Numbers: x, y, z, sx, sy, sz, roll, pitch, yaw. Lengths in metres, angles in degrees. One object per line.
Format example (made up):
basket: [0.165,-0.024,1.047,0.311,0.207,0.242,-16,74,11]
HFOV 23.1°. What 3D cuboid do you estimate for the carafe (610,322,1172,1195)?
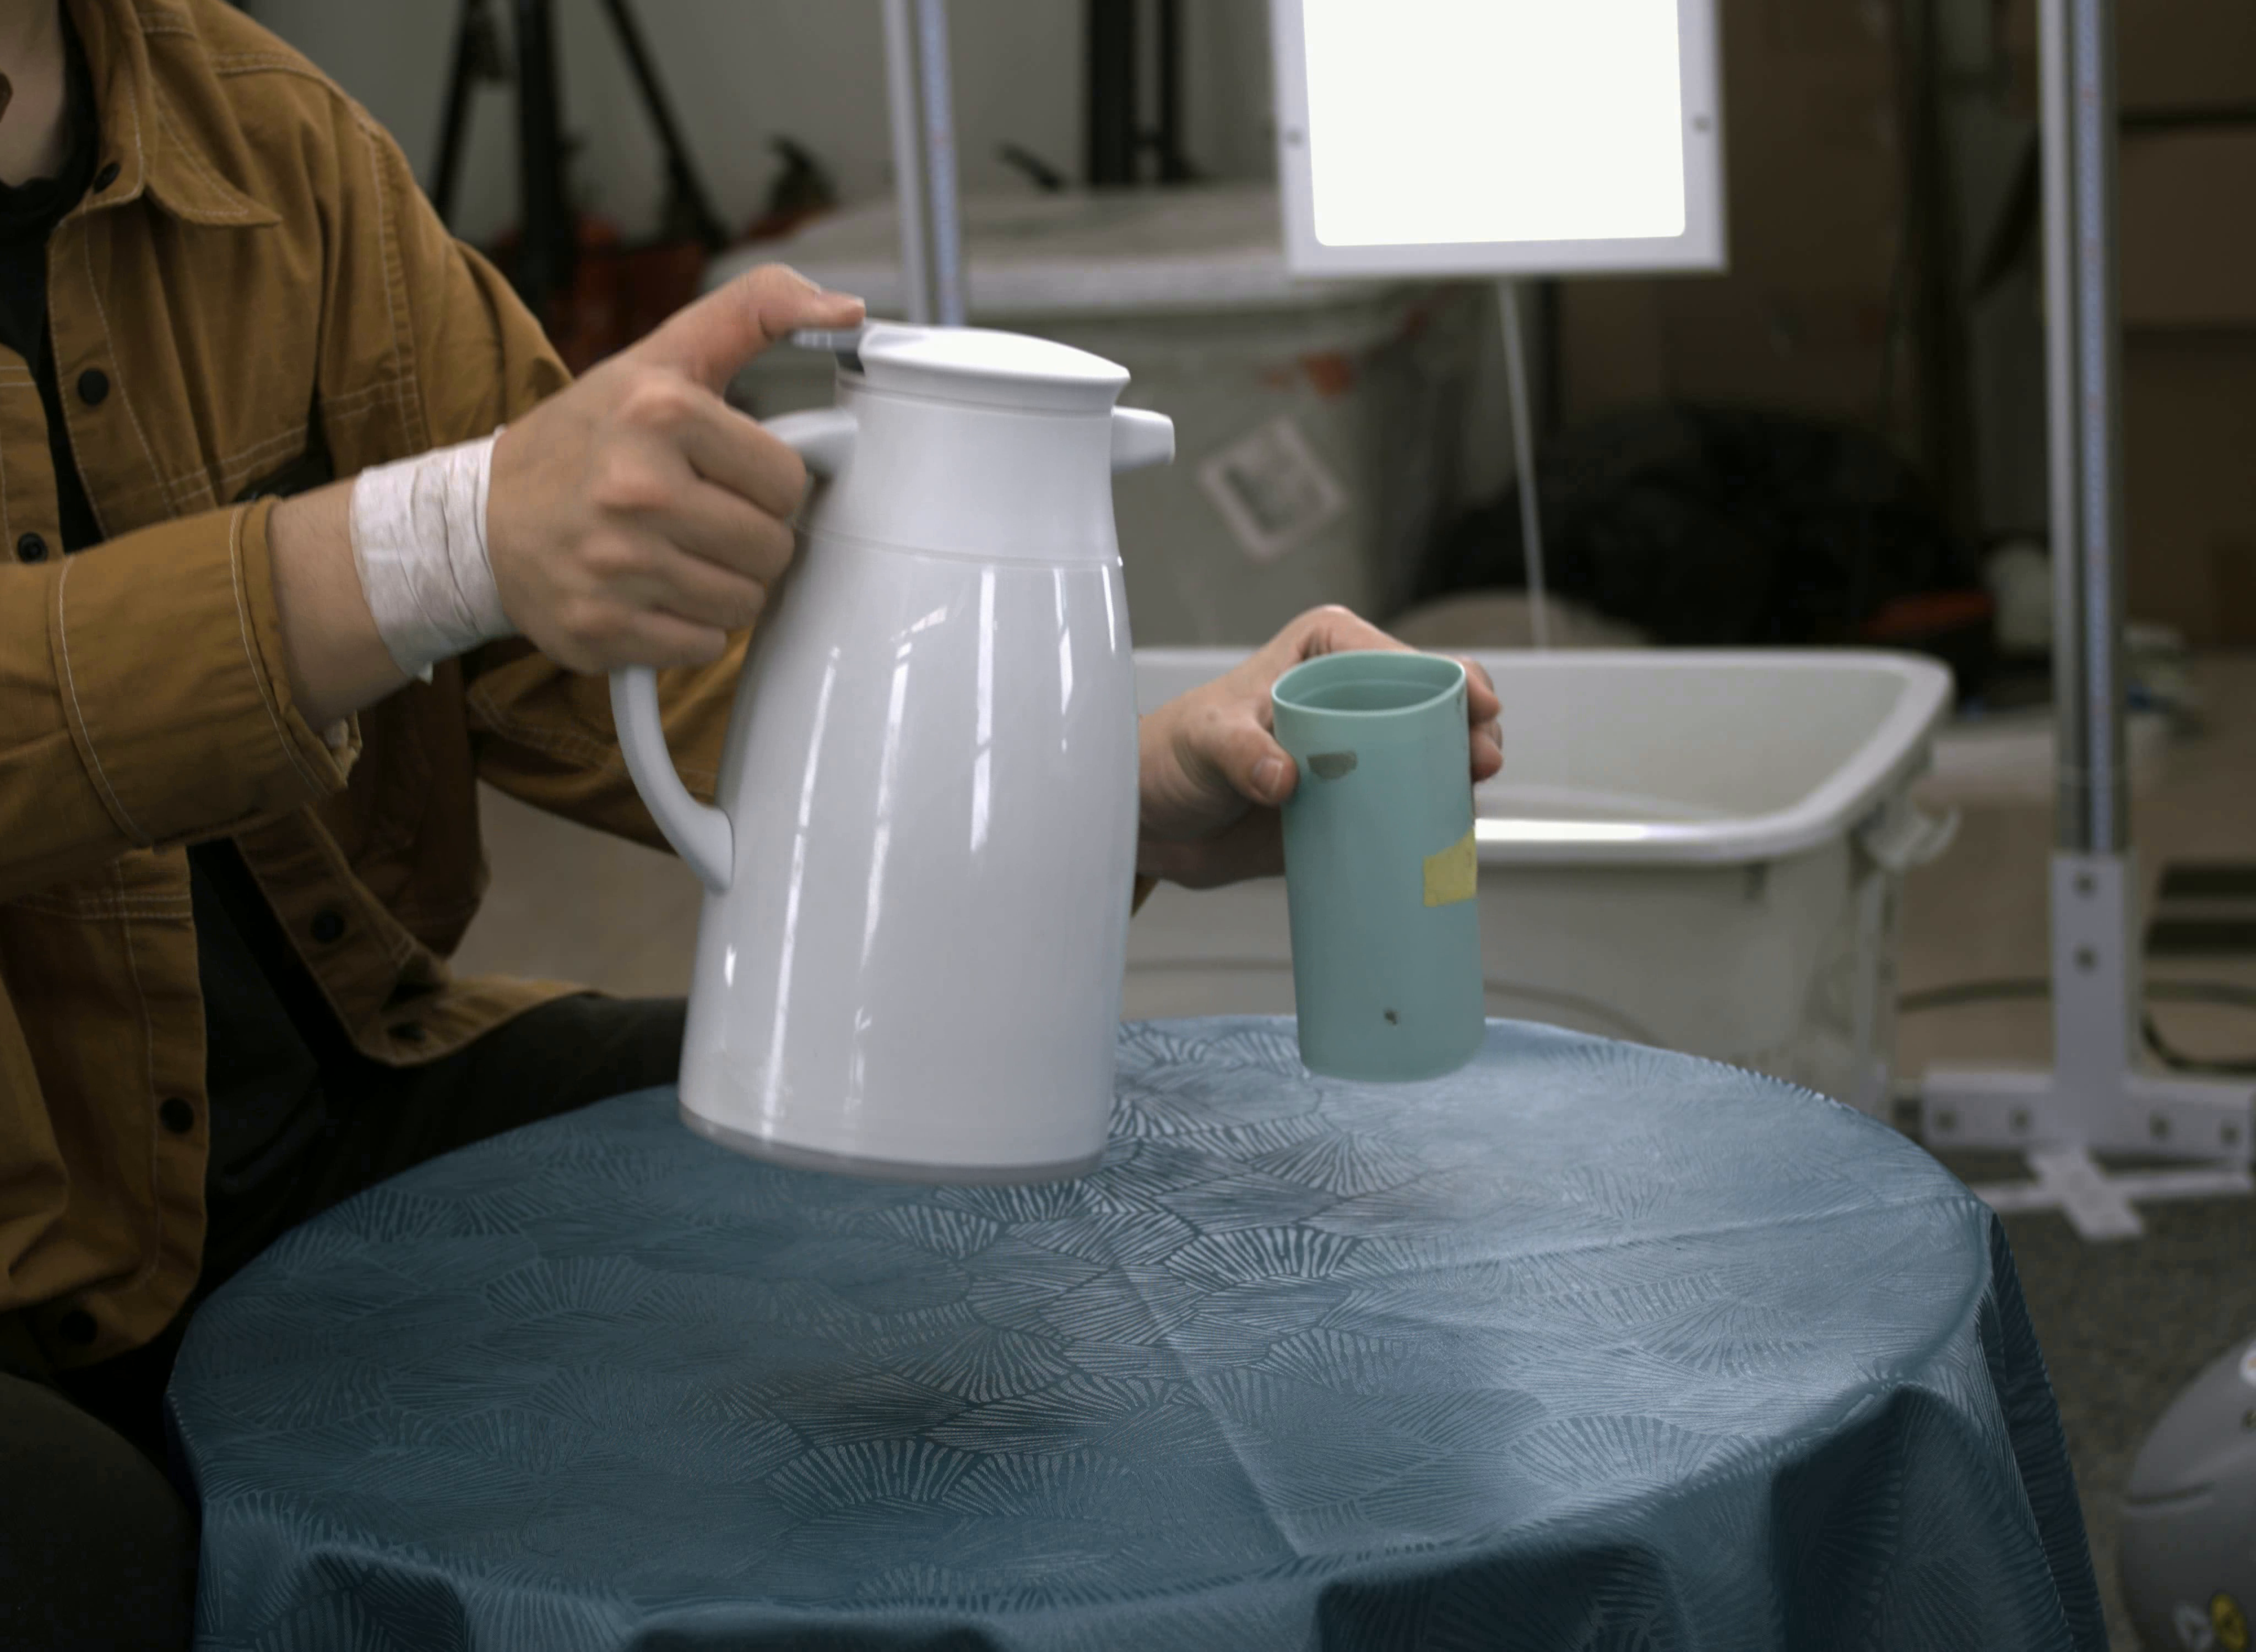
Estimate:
carafe: [-0.075,-0.025,1.652,0.164,0.250,0.134,2,10,-21]

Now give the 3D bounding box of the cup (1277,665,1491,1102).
cup: [0.085,0.018,1.819,0.066,0.133,0.066,-4,19,0]
